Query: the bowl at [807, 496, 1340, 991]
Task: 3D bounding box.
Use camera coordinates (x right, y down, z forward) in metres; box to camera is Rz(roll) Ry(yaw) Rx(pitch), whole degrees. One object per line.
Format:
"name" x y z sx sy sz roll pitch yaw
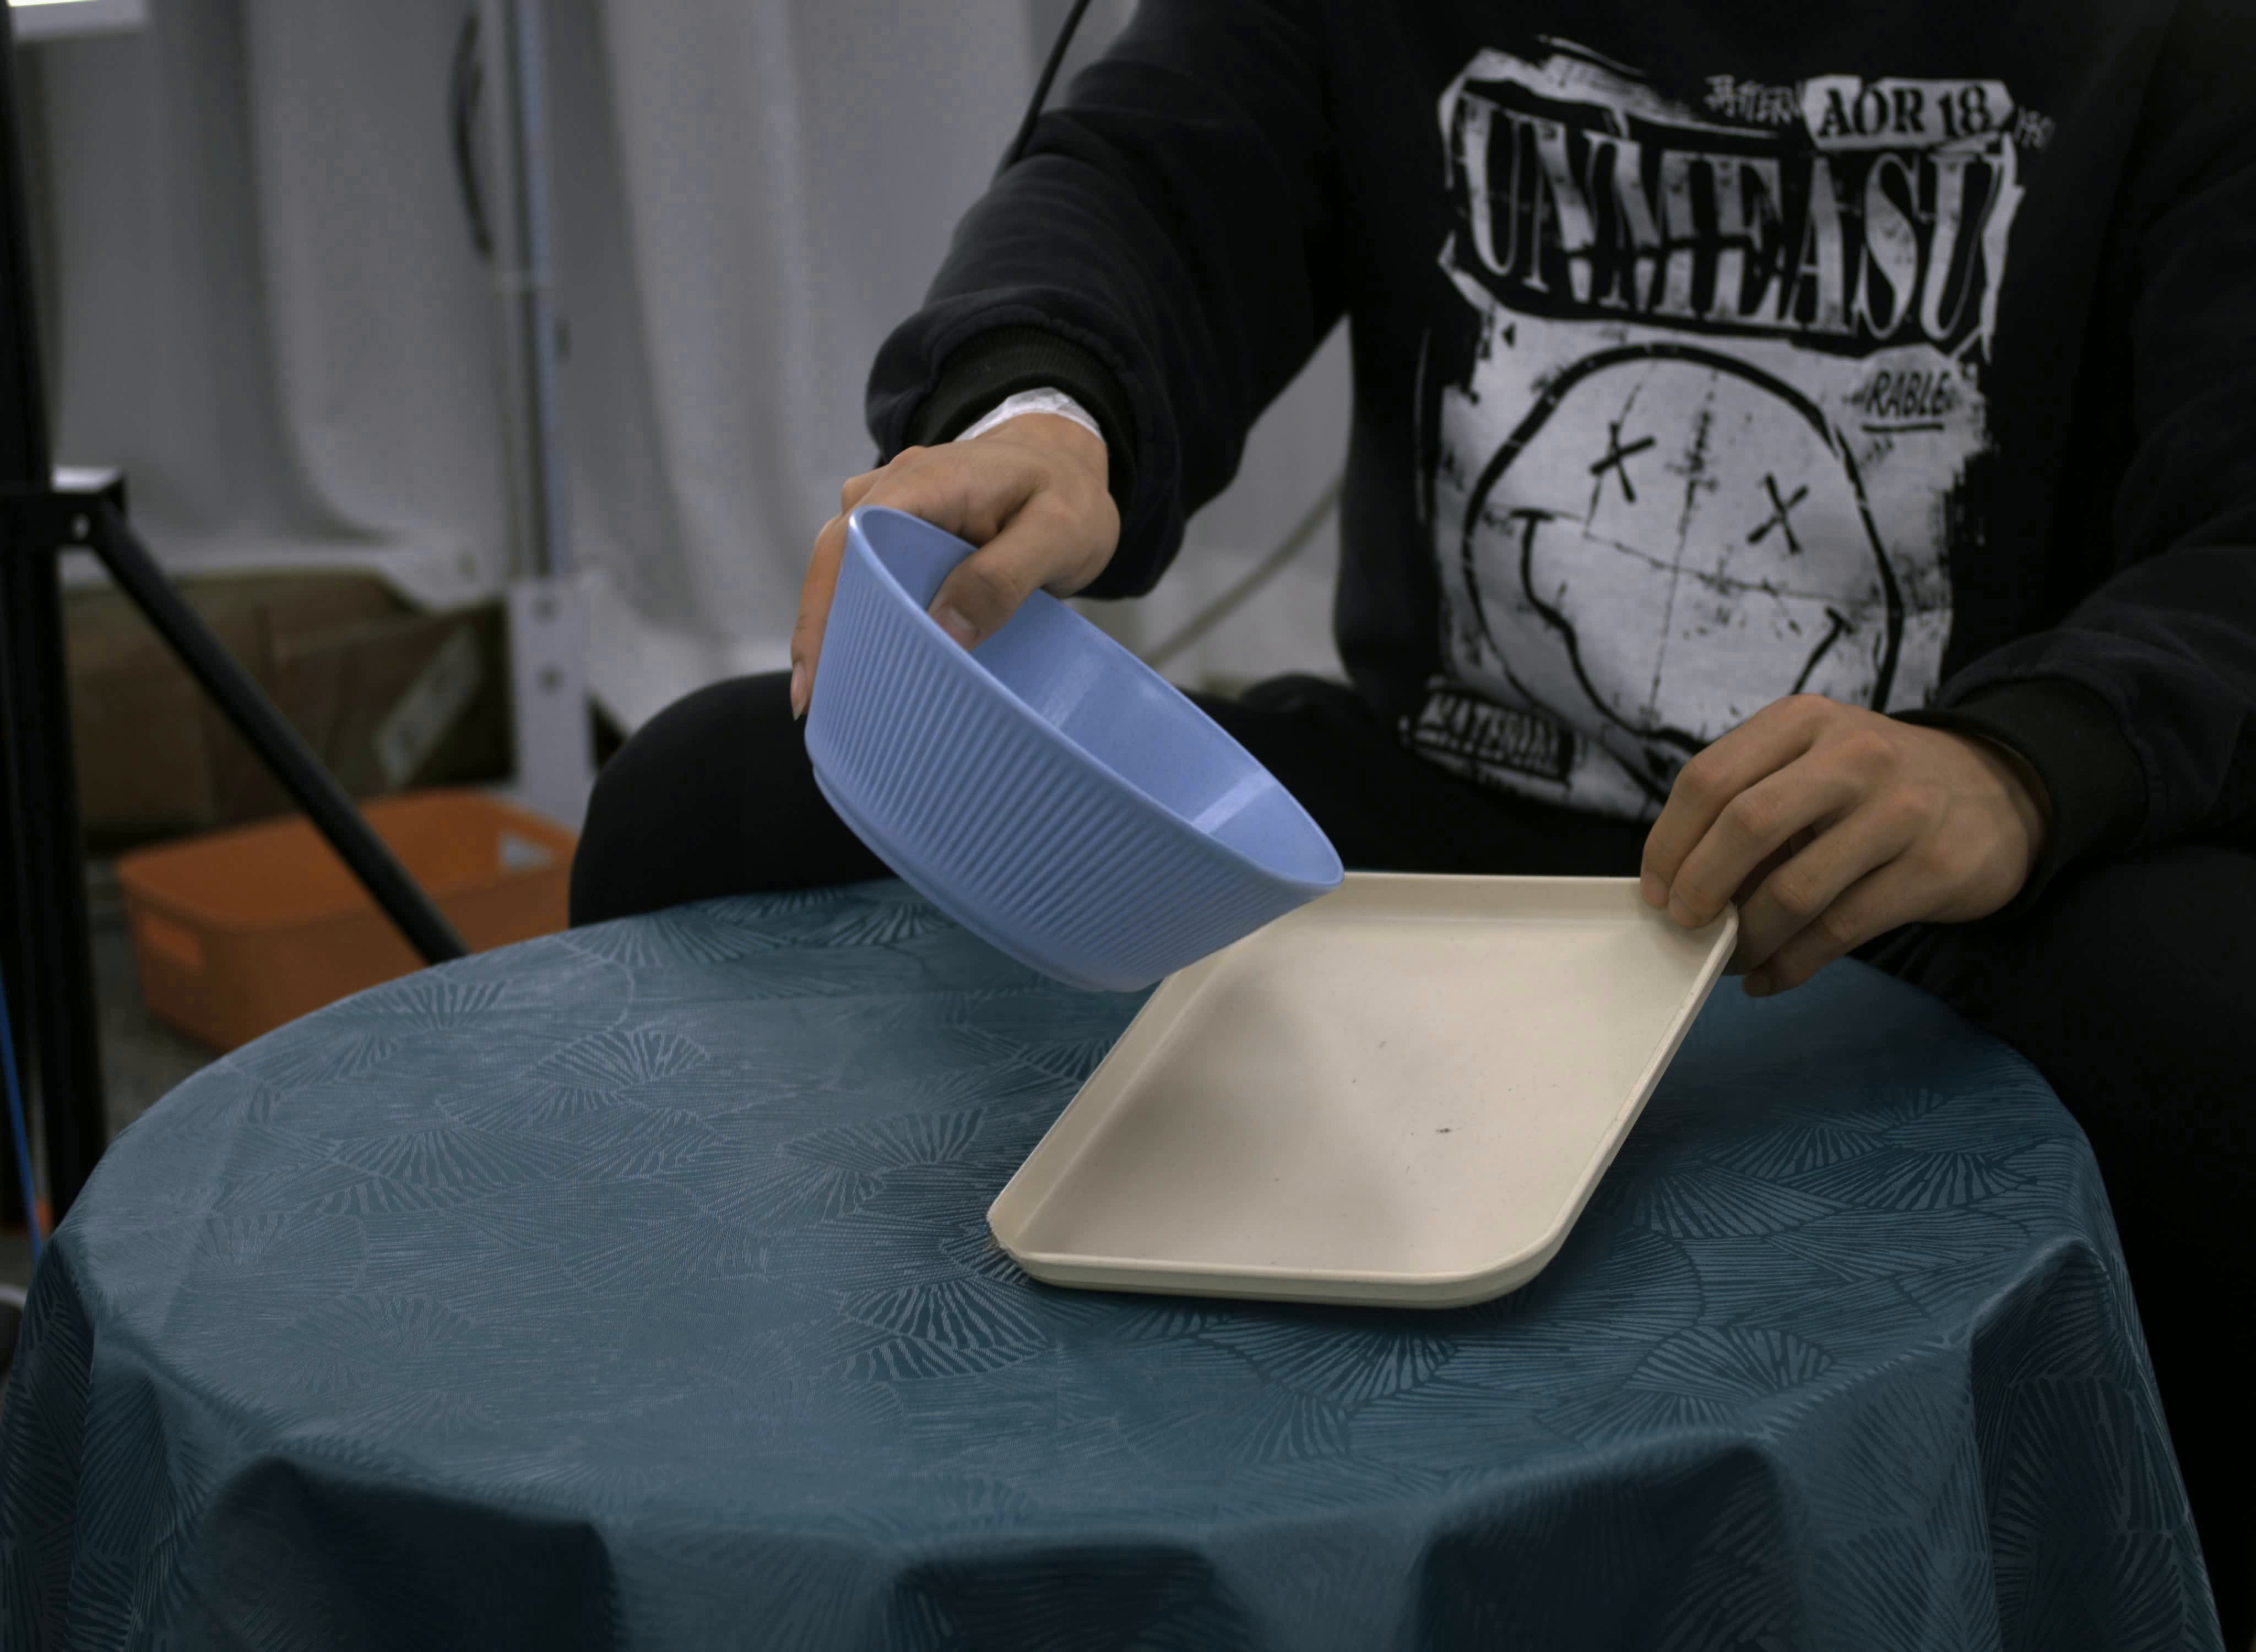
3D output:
"bowl" -0.027 -0.014 1.525 0.174 0.070 0.177 36 12 -10

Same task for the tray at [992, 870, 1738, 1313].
"tray" 0.073 0.076 1.546 0.174 0.017 0.237 2 27 24
